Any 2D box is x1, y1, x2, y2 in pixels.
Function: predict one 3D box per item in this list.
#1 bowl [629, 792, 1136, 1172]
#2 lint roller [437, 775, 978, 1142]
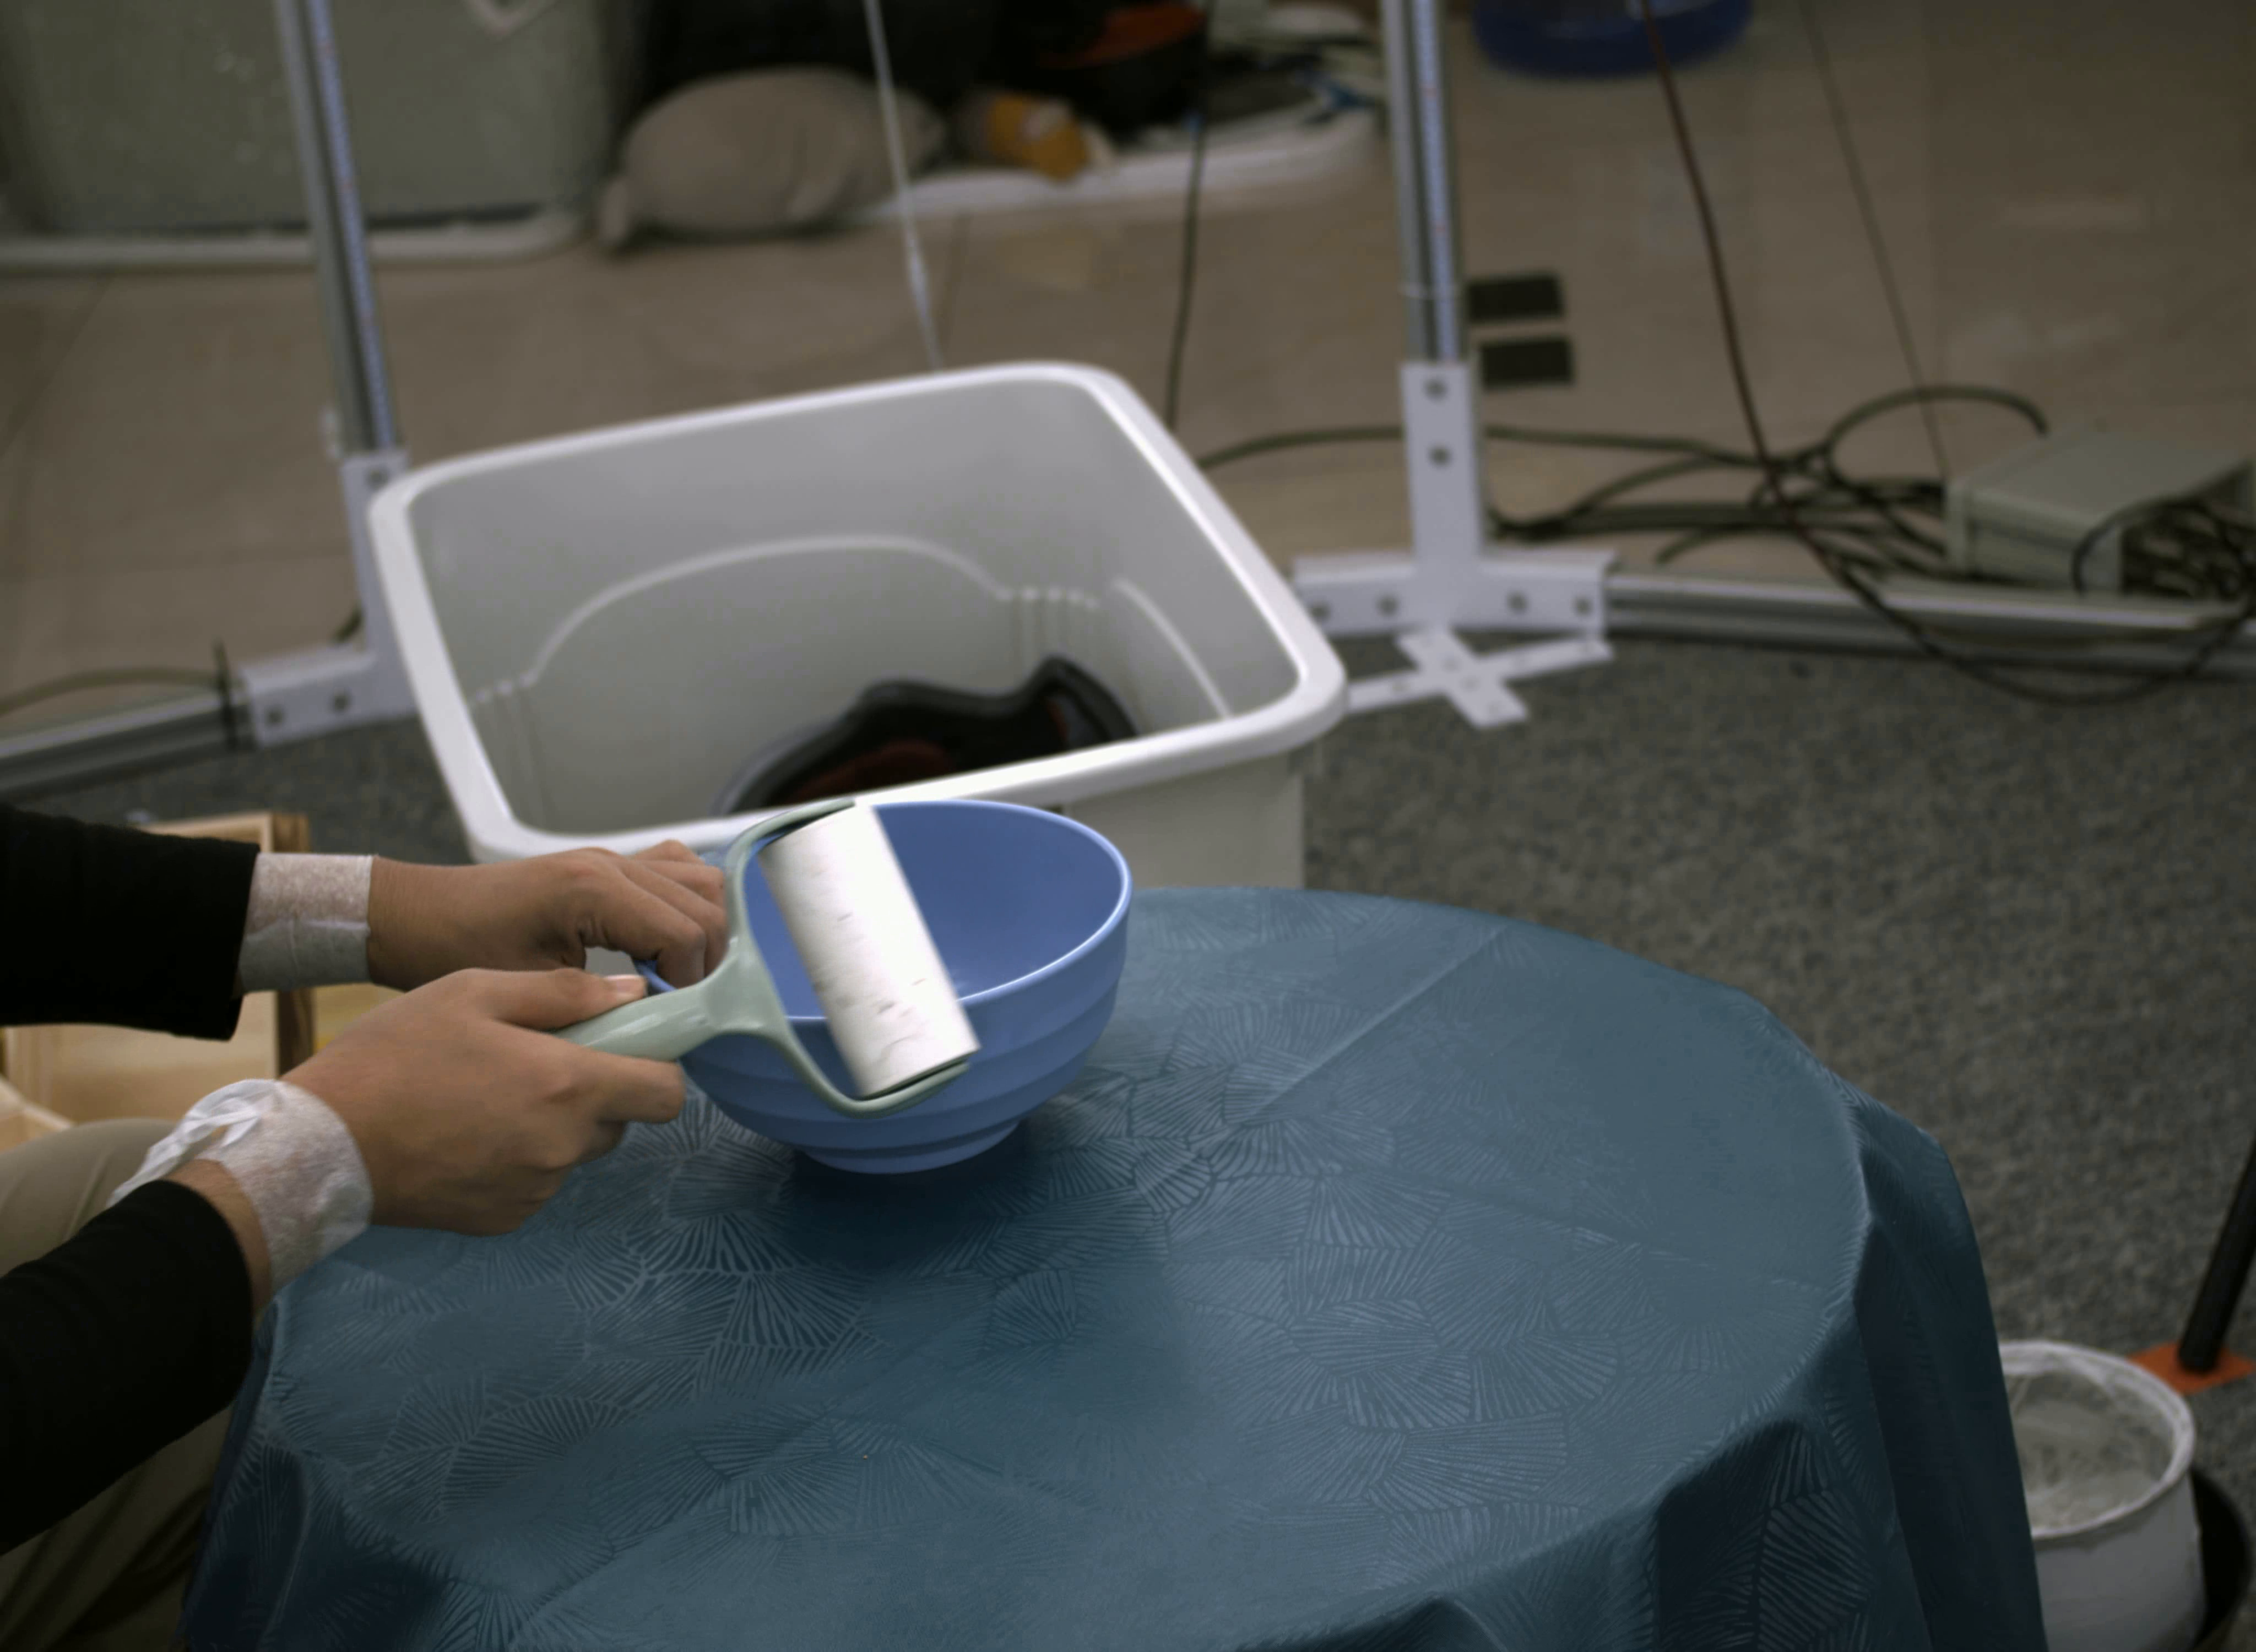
[{"bbox_3d":[-0.091,0.071,2.199,0.196,0.097,0.193,-4,26,2],"label":"bowl"},{"bbox_3d":[-0.158,0.063,2.037,0.196,0.116,0.049,-22,-2,-26],"label":"lint roller"}]
